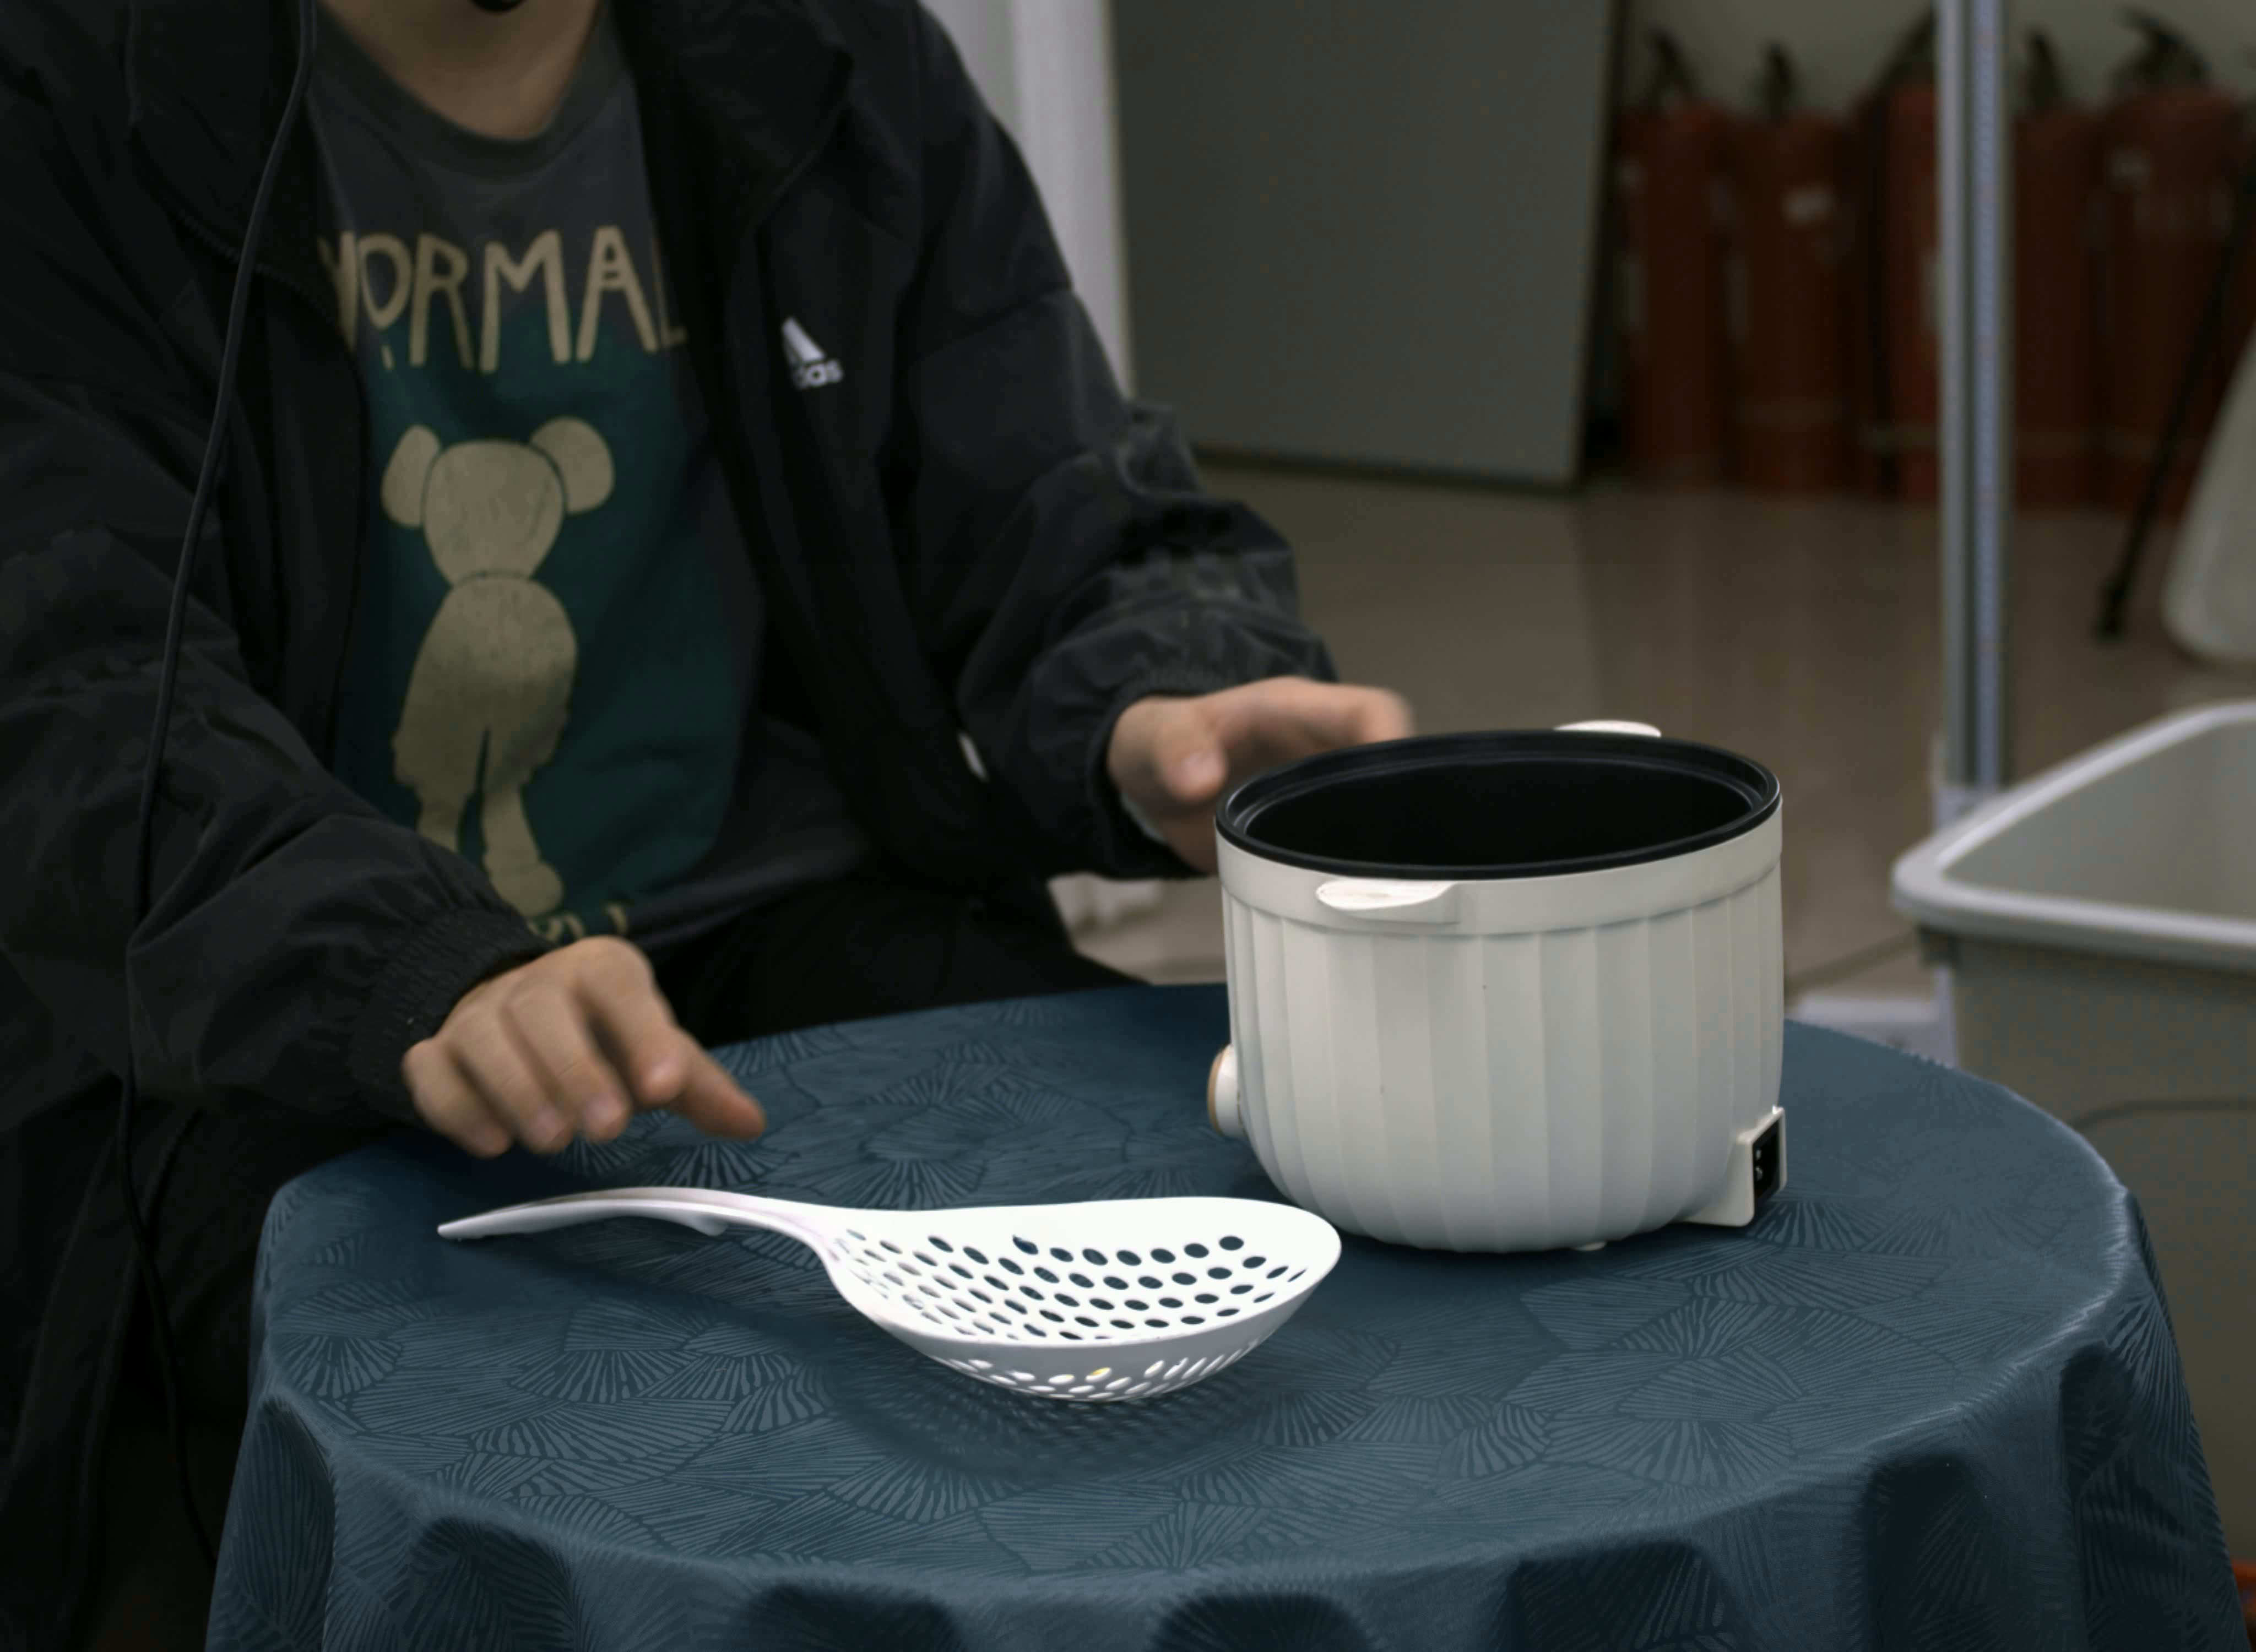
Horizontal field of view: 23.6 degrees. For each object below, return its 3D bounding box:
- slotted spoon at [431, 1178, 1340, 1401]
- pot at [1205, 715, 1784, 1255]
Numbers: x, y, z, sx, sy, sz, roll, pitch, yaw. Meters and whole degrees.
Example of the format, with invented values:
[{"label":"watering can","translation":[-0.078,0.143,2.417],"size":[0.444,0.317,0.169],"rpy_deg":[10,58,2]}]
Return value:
[{"label":"slotted spoon","translation":[-0.088,0.134,1.658],"size":[0.350,0.051,0.134],"rpy_deg":[8,20,40]},{"label":"pot","translation":[0.115,0.053,1.723],"size":[0.191,0.144,0.237],"rpy_deg":[5,15,24]}]
